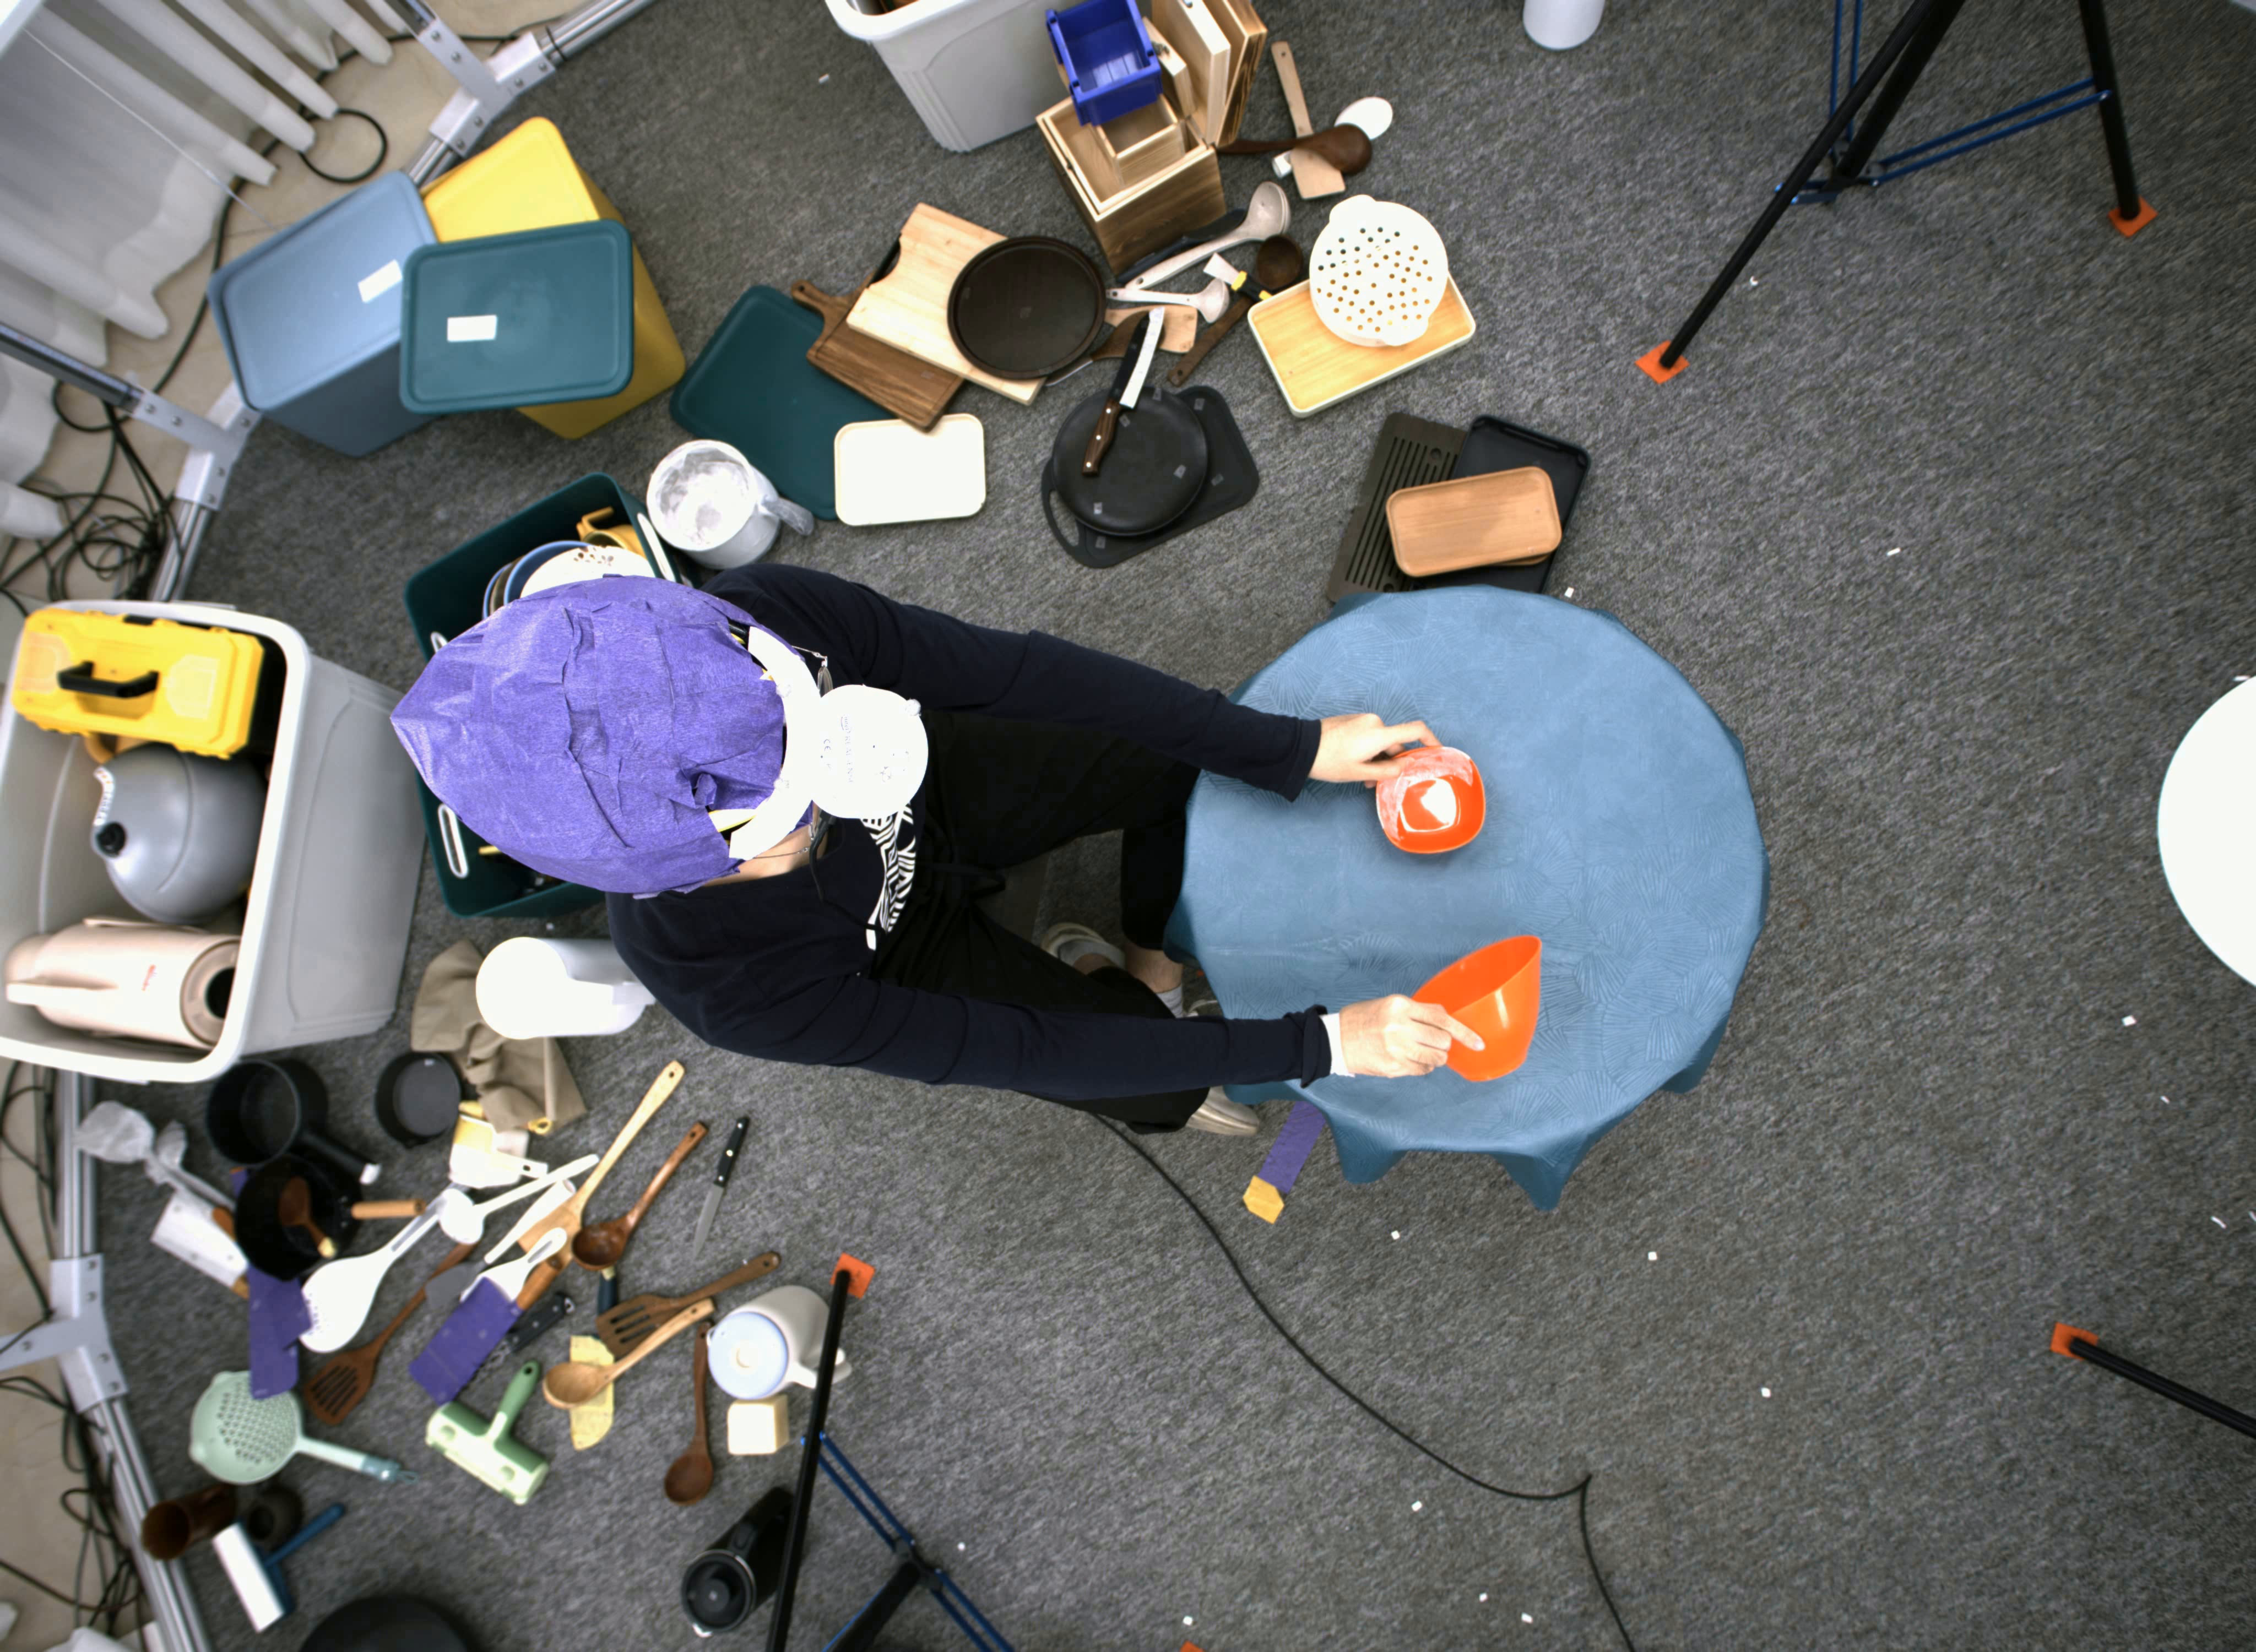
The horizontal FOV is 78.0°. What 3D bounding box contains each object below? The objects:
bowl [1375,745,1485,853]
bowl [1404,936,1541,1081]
[{"bbox_3d":[0.313,-0.027,1.431,0.119,0.051,0.118,-1,88,10],"label":"bowl"},{"bbox_3d":[0.348,0.182,1.338,0.149,0.146,0.105,-24,101,7],"label":"bowl"}]
